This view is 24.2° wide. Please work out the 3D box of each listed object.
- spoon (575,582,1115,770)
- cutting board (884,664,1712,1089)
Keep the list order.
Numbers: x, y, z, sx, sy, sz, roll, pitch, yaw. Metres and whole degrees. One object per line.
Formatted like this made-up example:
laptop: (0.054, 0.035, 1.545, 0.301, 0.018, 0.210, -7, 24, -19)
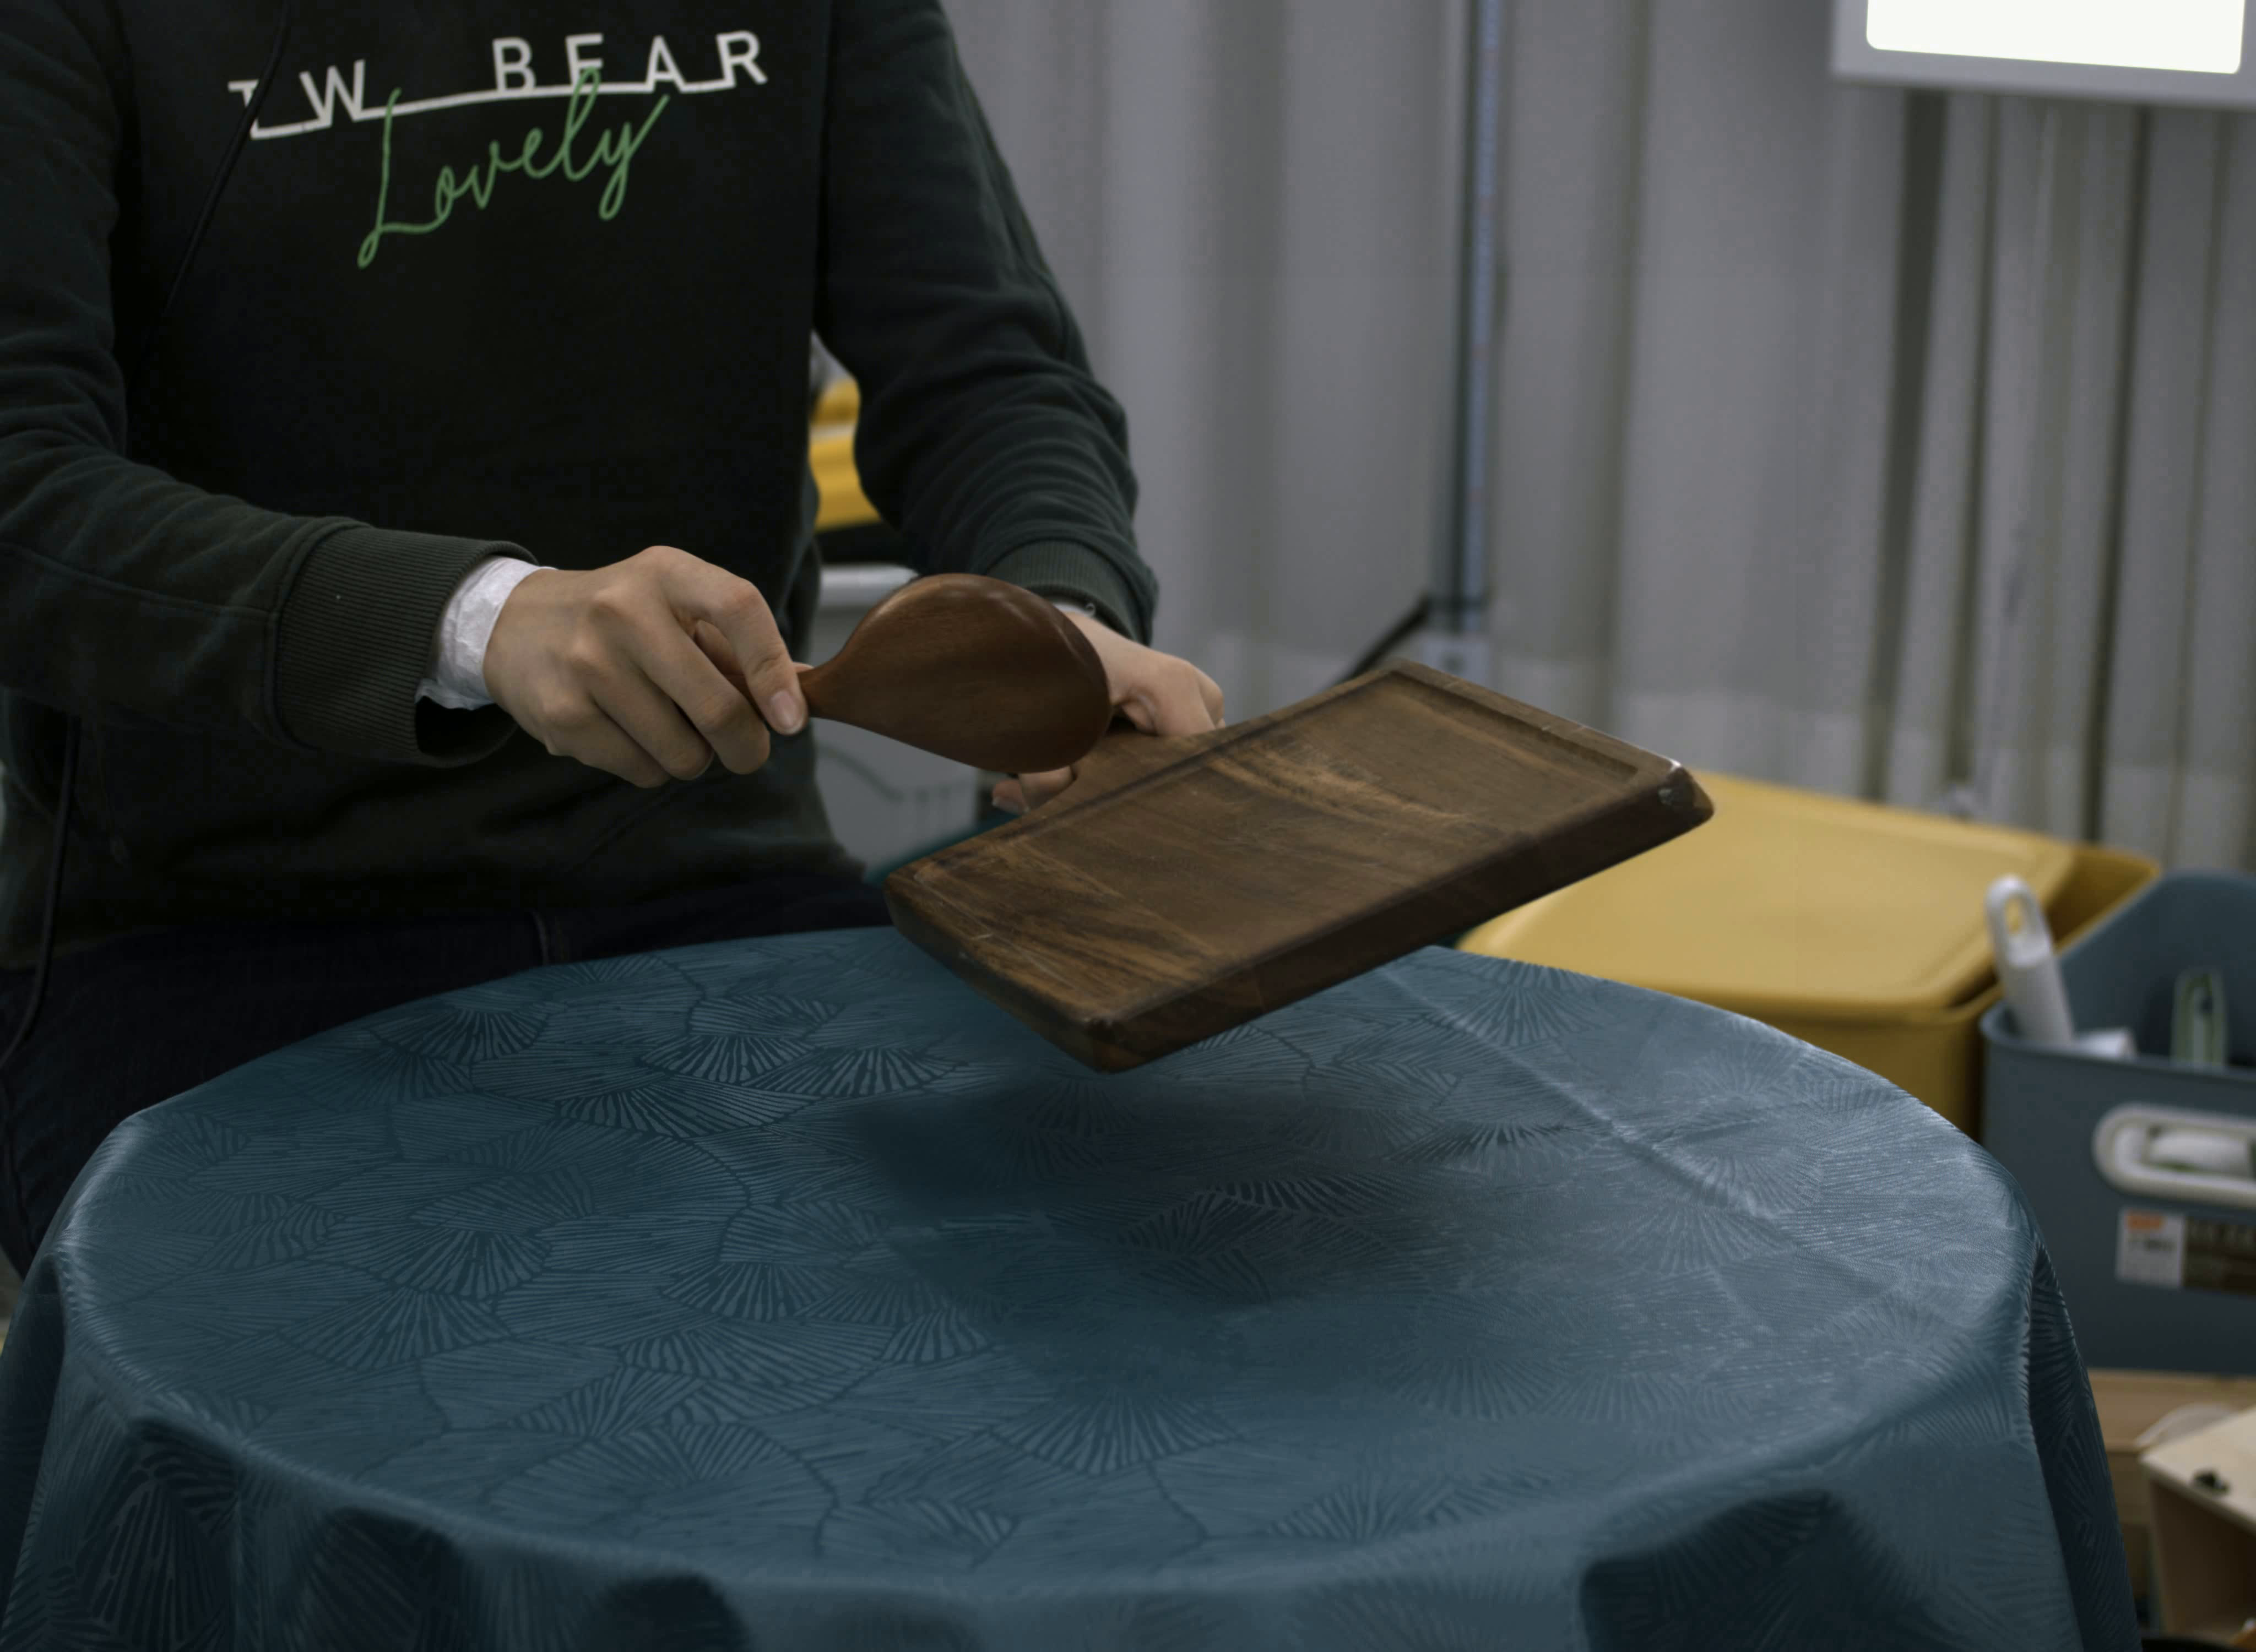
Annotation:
spoon: (-0.093, -0.040, 1.629, 0.213, 0.076, 0.017, -3, 42, 40)
cutting board: (0.031, 0.003, 1.661, 0.201, 0.023, 0.349, -24, 15, -12)
